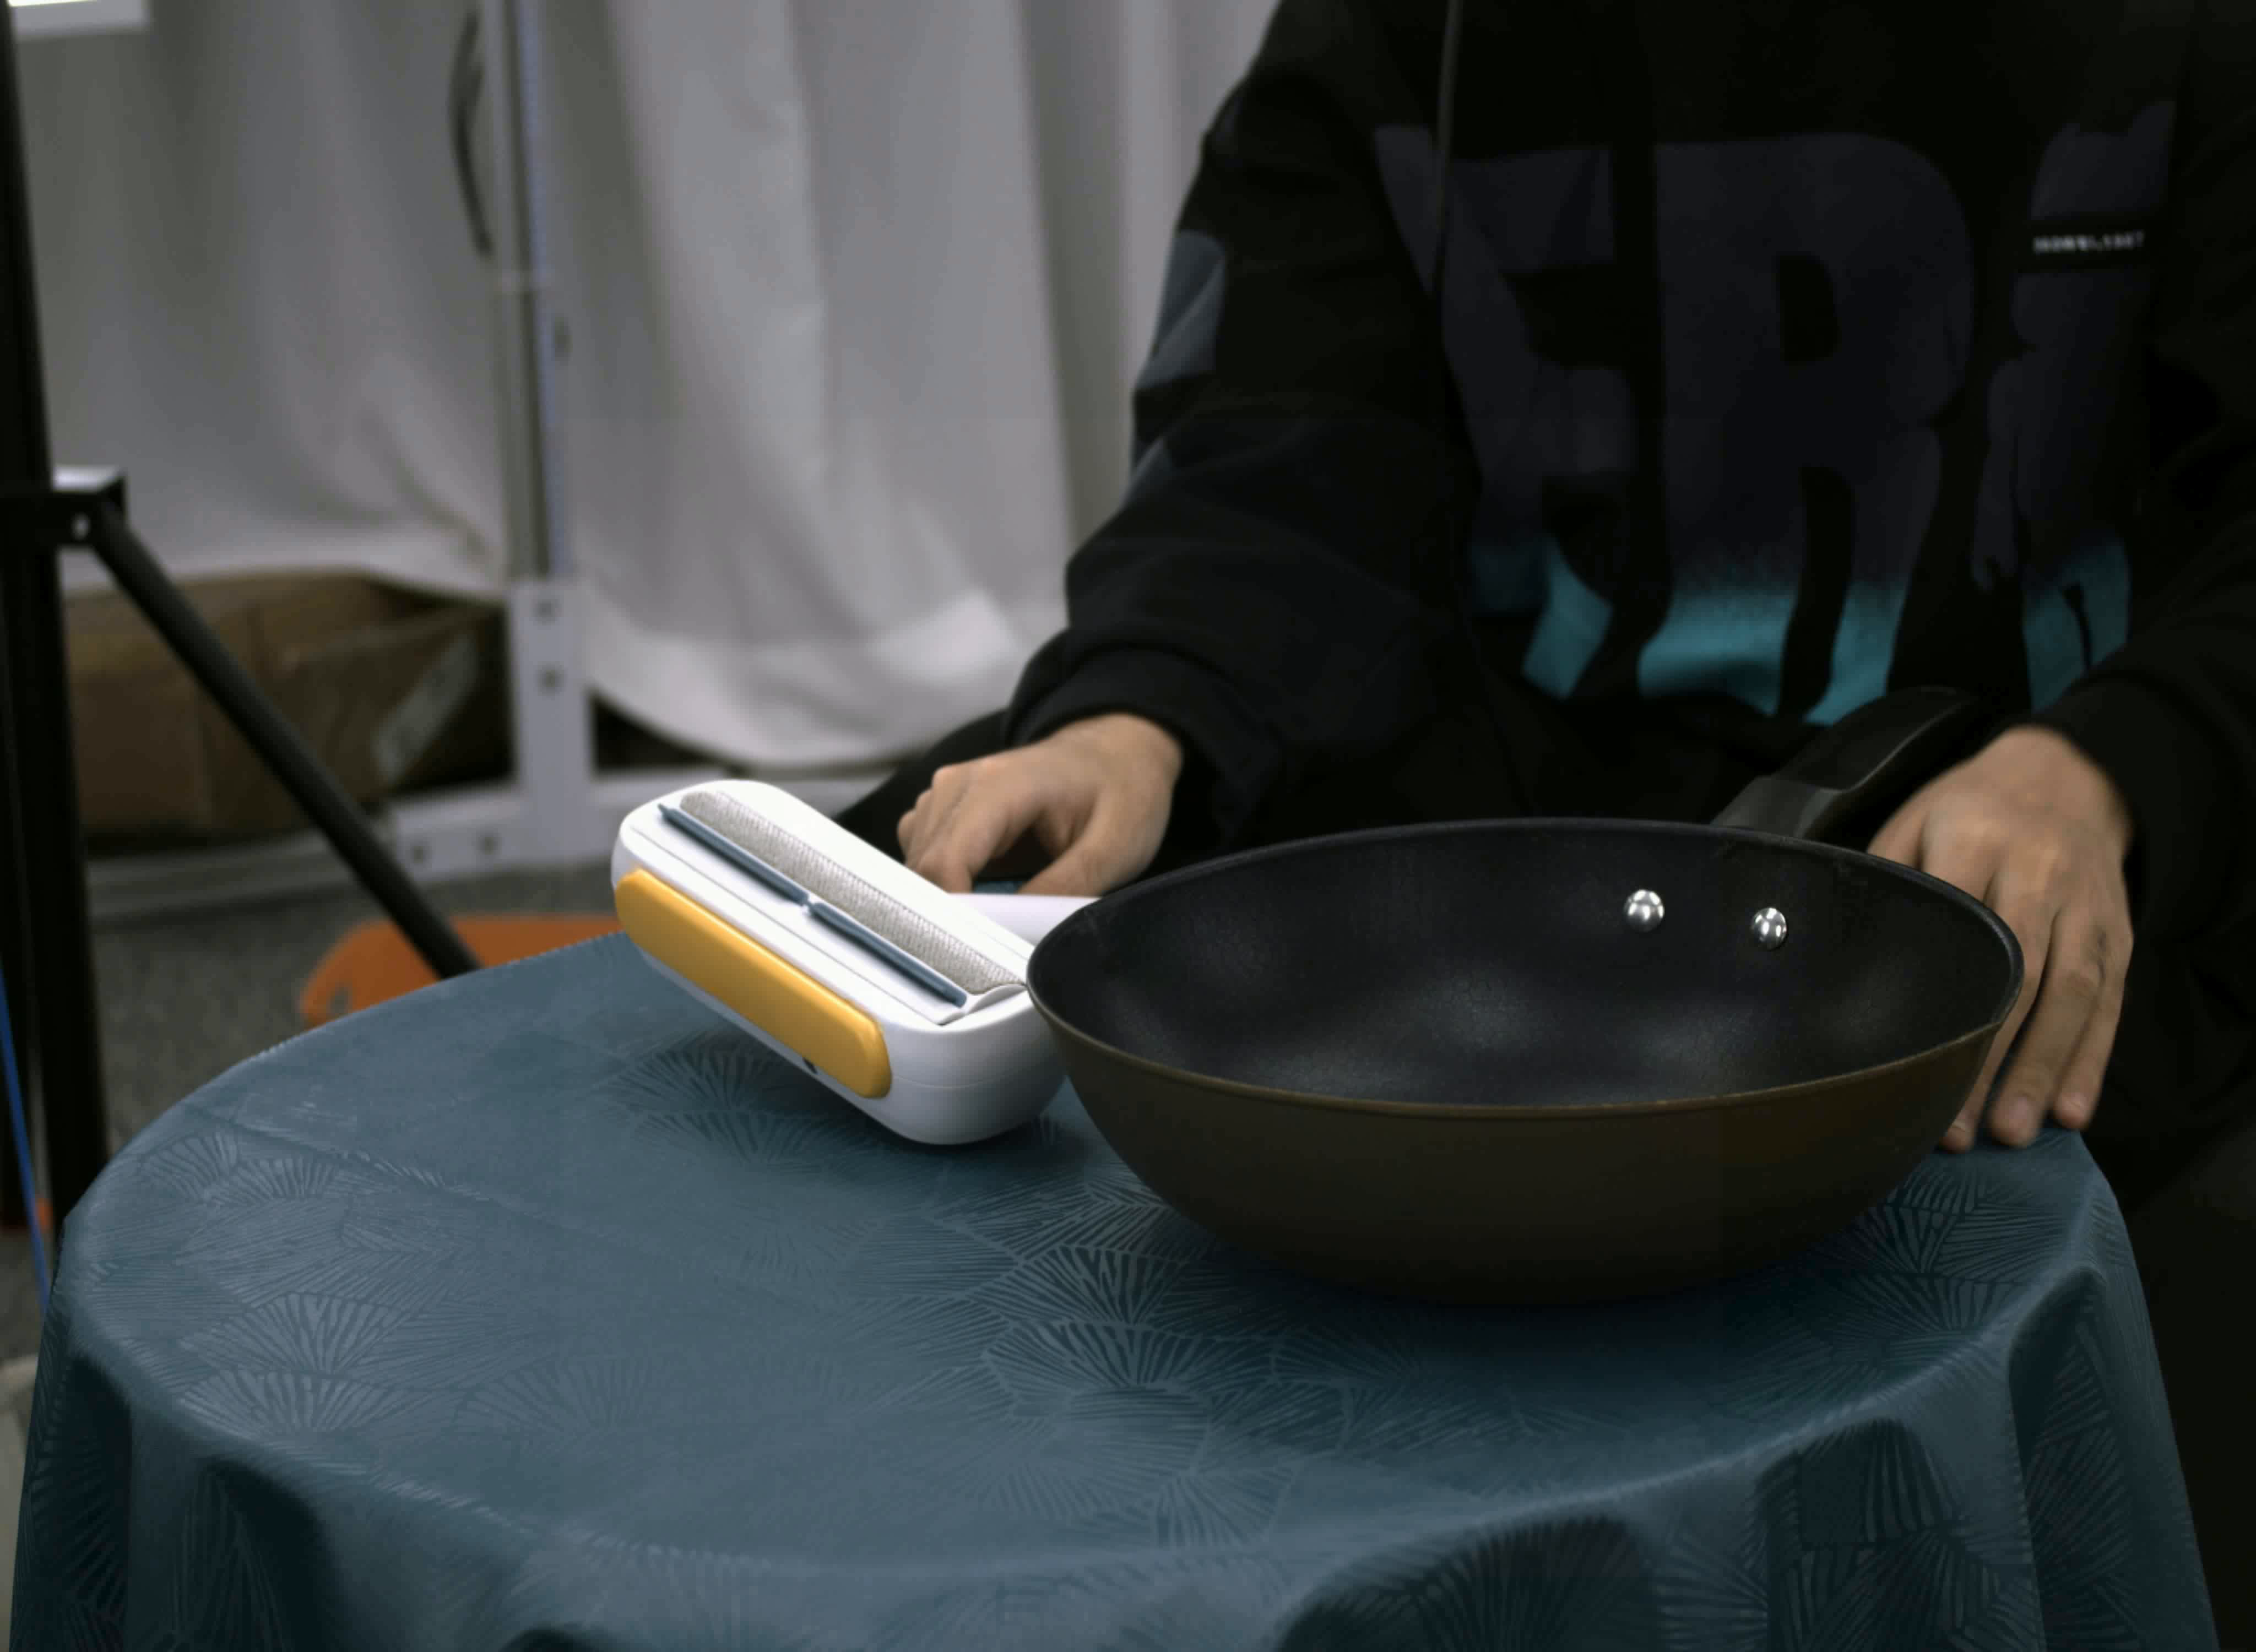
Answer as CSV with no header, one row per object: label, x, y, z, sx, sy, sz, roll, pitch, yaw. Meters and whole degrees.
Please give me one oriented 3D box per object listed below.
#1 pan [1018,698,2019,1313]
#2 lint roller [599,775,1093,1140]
pan,0.156,0.051,1.580,0.293,0.087,0.455,7,18,30
lint roller,-0.048,0.037,1.696,0.188,0.074,0.197,-11,23,-32
